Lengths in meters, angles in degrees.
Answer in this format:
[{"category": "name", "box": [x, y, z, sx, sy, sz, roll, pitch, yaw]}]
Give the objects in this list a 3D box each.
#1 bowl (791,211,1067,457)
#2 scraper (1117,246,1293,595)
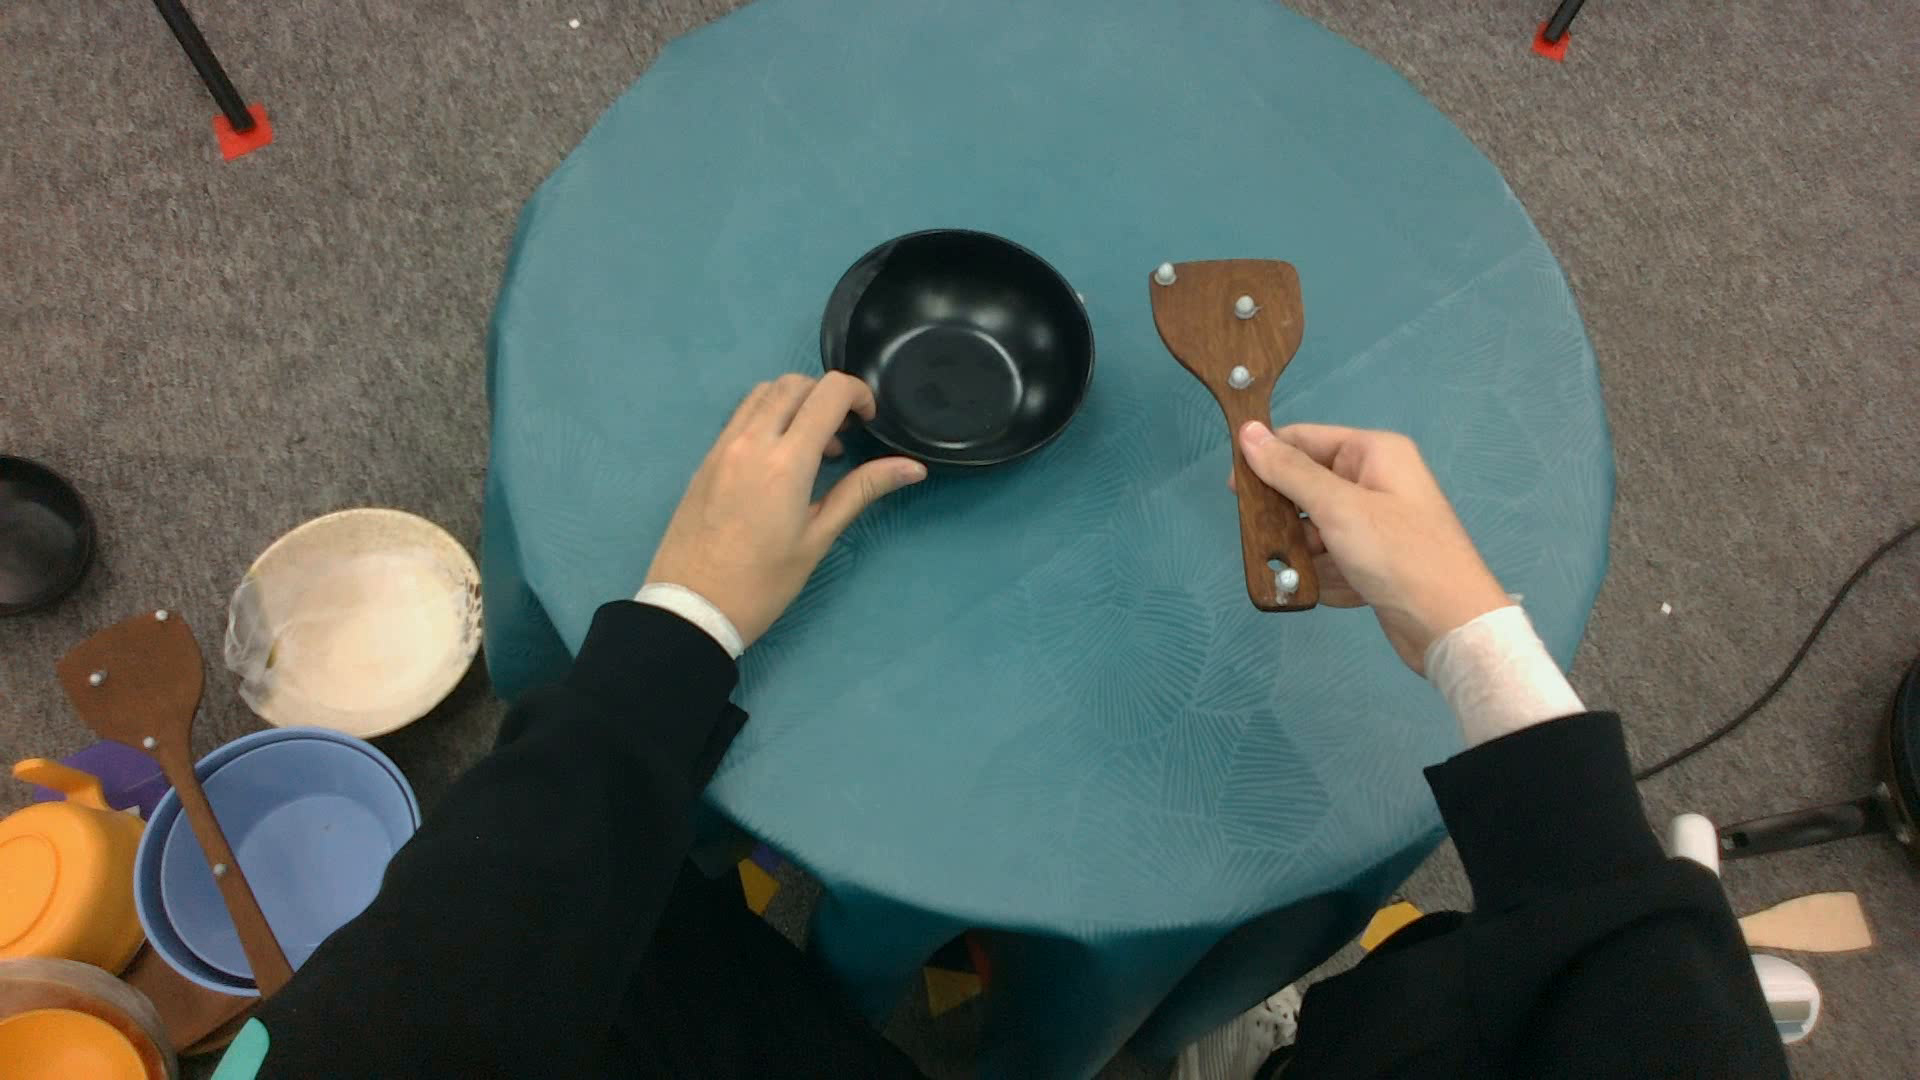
[{"category": "bowl", "box": [-0.018, -0.098, 0.705, 0.140, 0.049, 0.140, 4, 65, -9]}, {"category": "scraper", "box": [0.117, -0.060, 0.616, 0.076, 0.011, 0.212, -2, 51, 0]}]
